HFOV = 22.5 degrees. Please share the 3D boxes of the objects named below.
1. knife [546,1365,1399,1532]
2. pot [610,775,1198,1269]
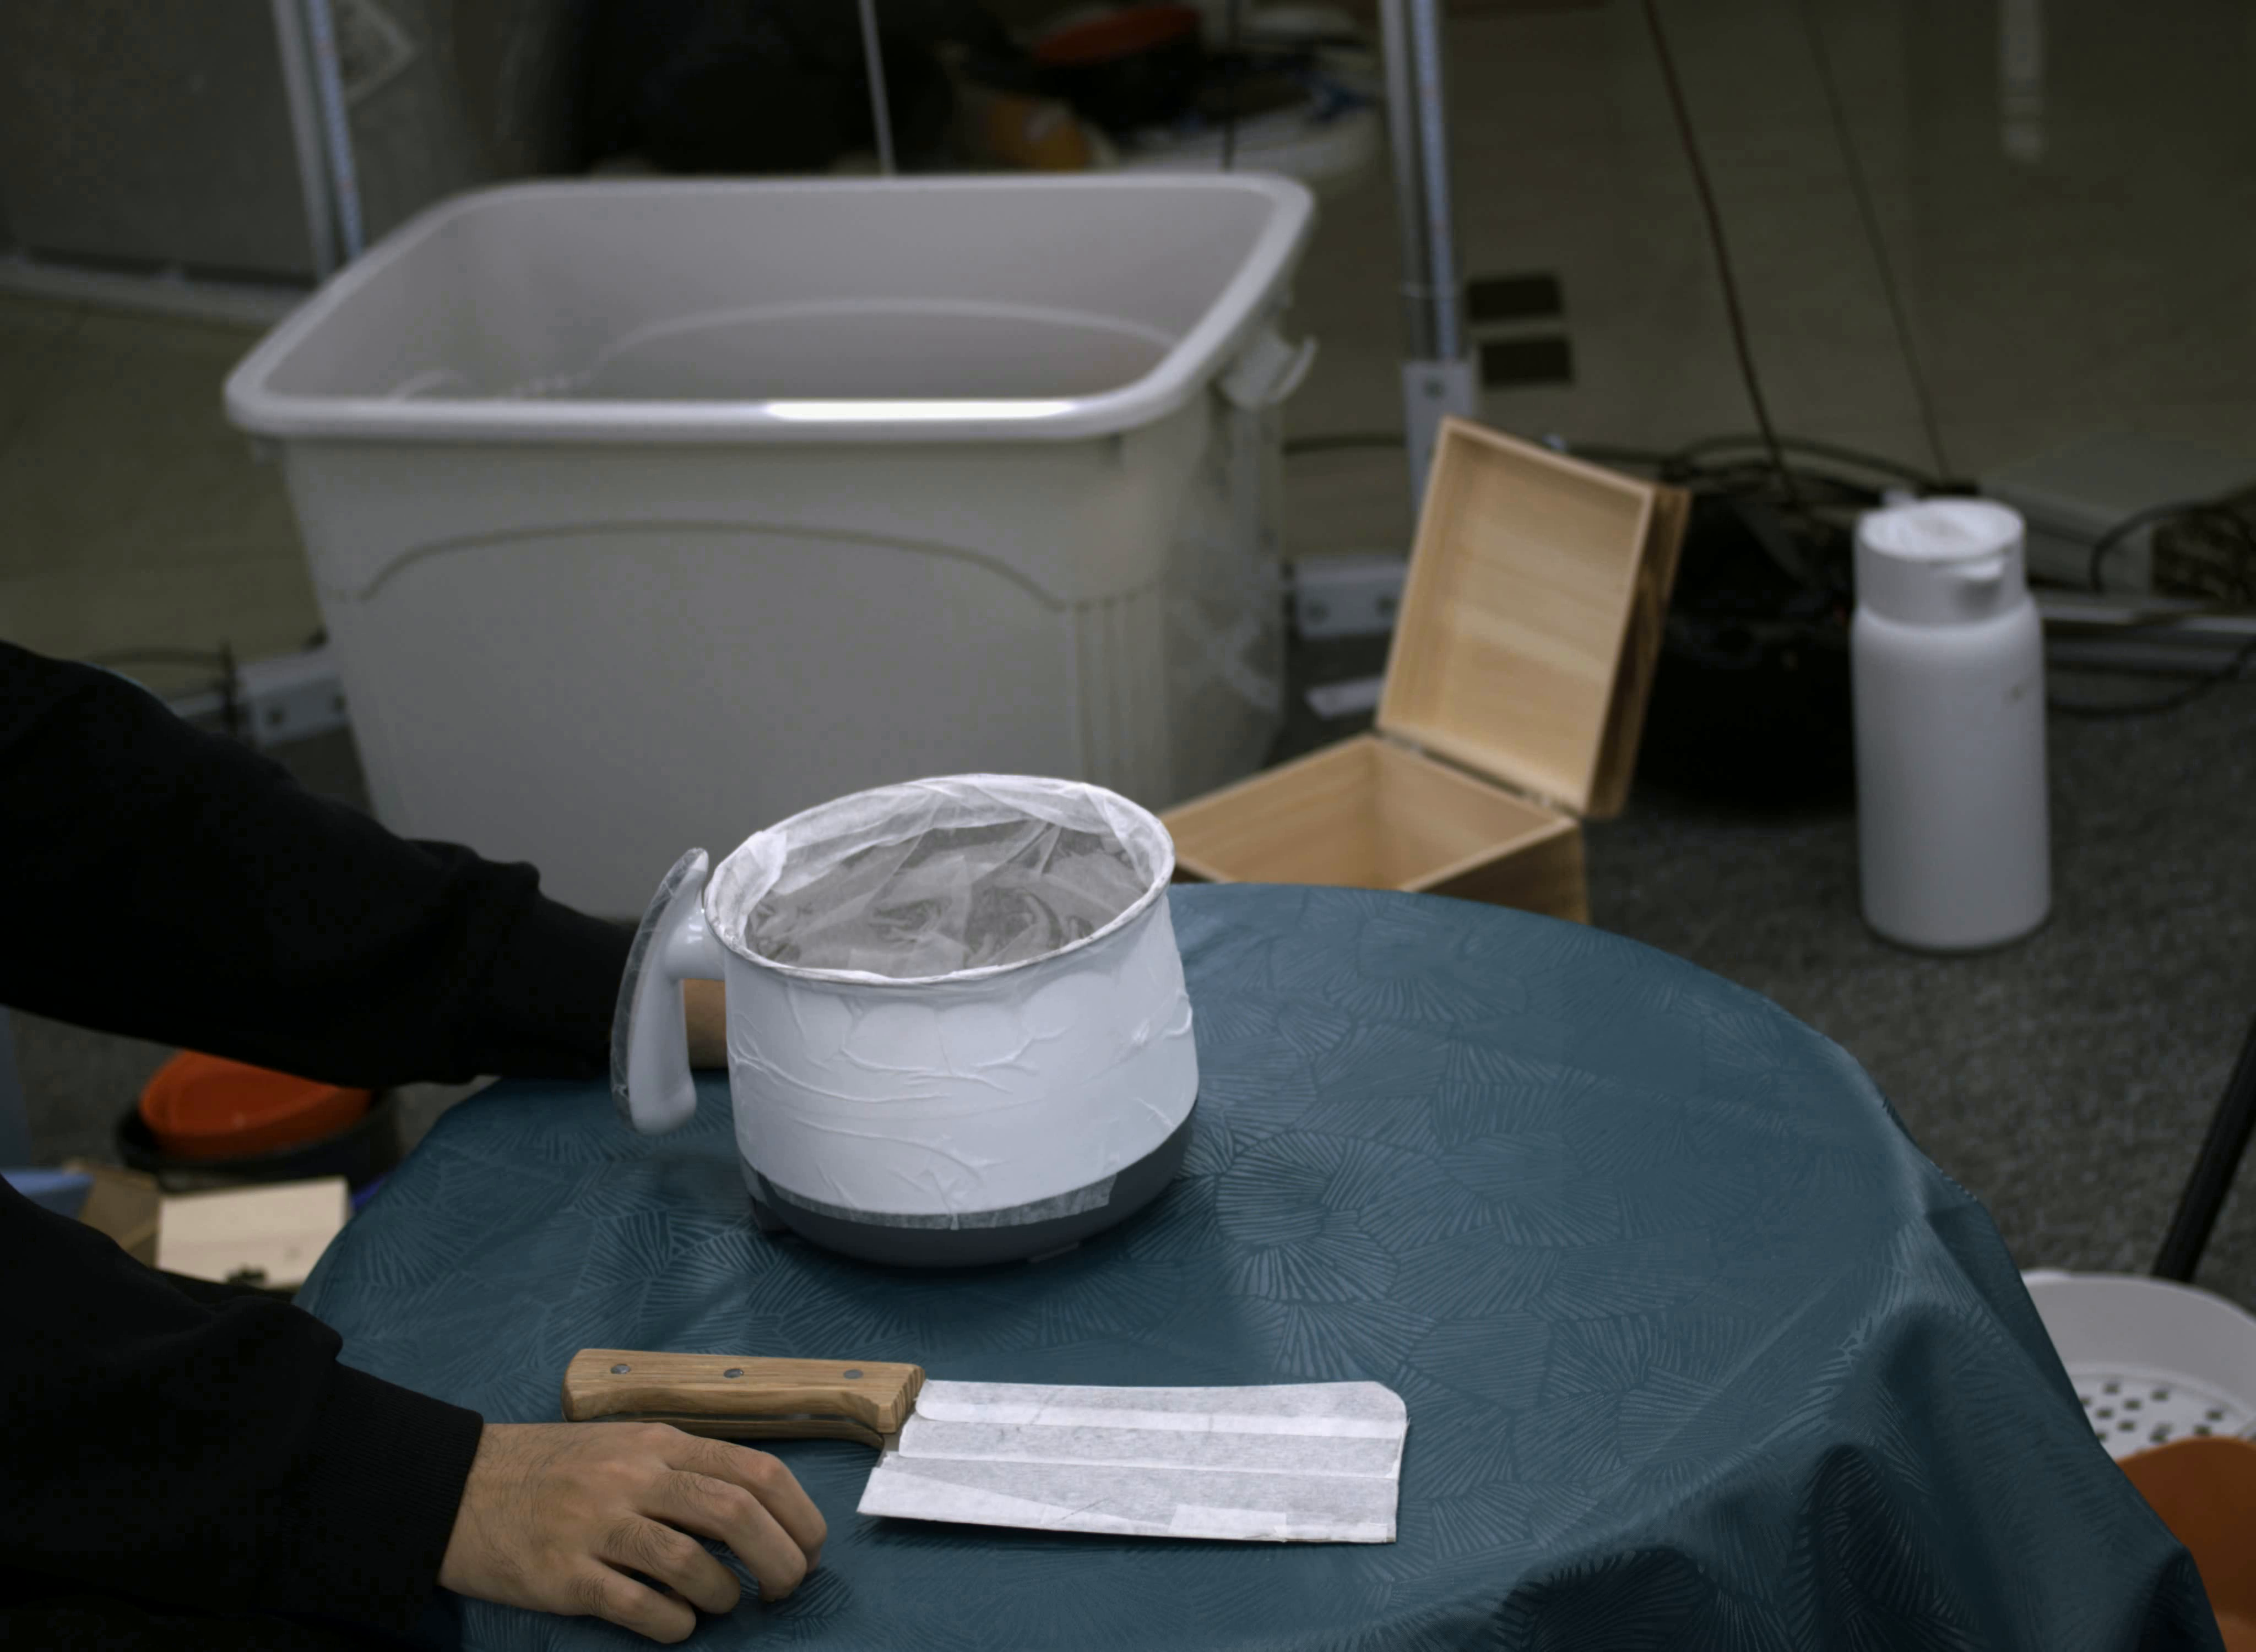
[{"bbox_3d":[-0.053,0.213,1.981,0.314,0.022,0.112,3,27,14],"label":"knife"},{"bbox_3d":[-0.090,0.074,2.143,0.233,0.139,0.176,3,27,18],"label":"pot"}]
